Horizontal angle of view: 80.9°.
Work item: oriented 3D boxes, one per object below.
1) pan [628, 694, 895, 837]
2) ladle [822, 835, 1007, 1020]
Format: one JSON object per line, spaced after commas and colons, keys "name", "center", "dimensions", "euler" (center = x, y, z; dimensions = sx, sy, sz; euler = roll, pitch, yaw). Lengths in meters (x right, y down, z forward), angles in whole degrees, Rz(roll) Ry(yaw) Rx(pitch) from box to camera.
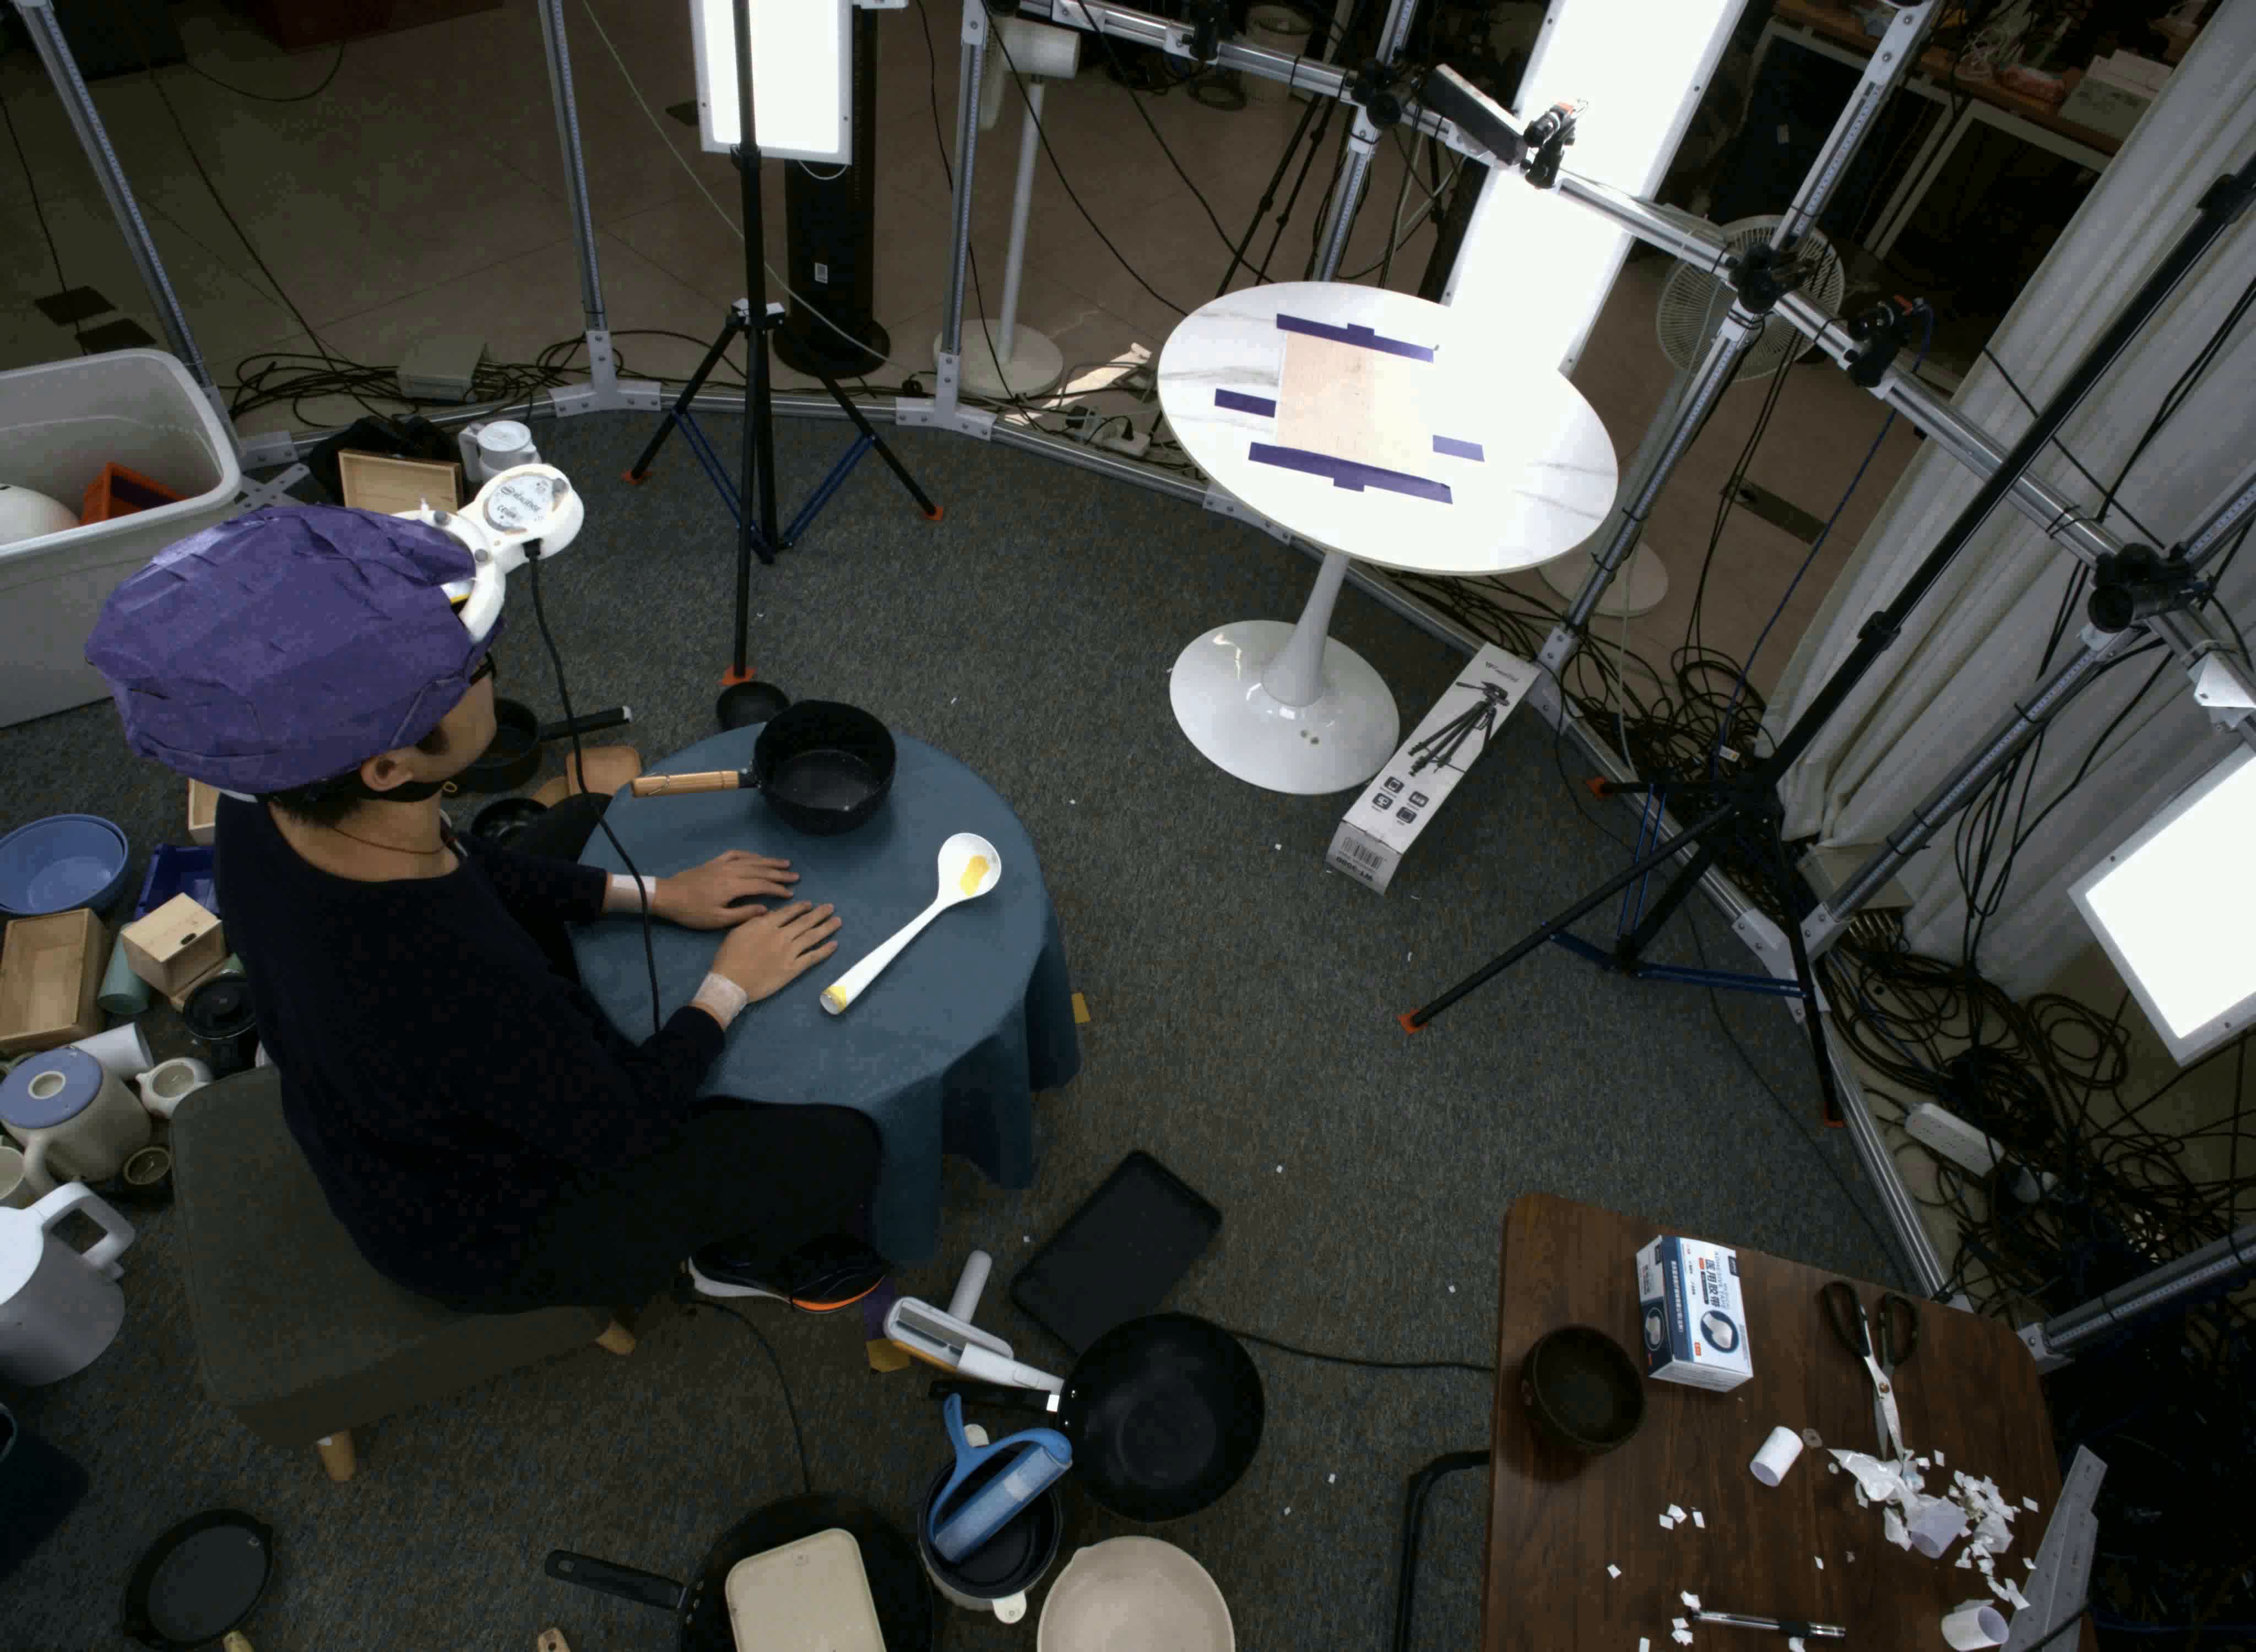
{"name": "pan", "center": [-0.471, -0.060, 1.676], "dimensions": [0.345, 0.110, 0.202], "euler": [-15, 59, -26]}
{"name": "ladle", "center": [-0.267, 0.125, 1.622], "dimensions": [0.089, 0.071, 0.293], "euler": [40, 55, 8]}
